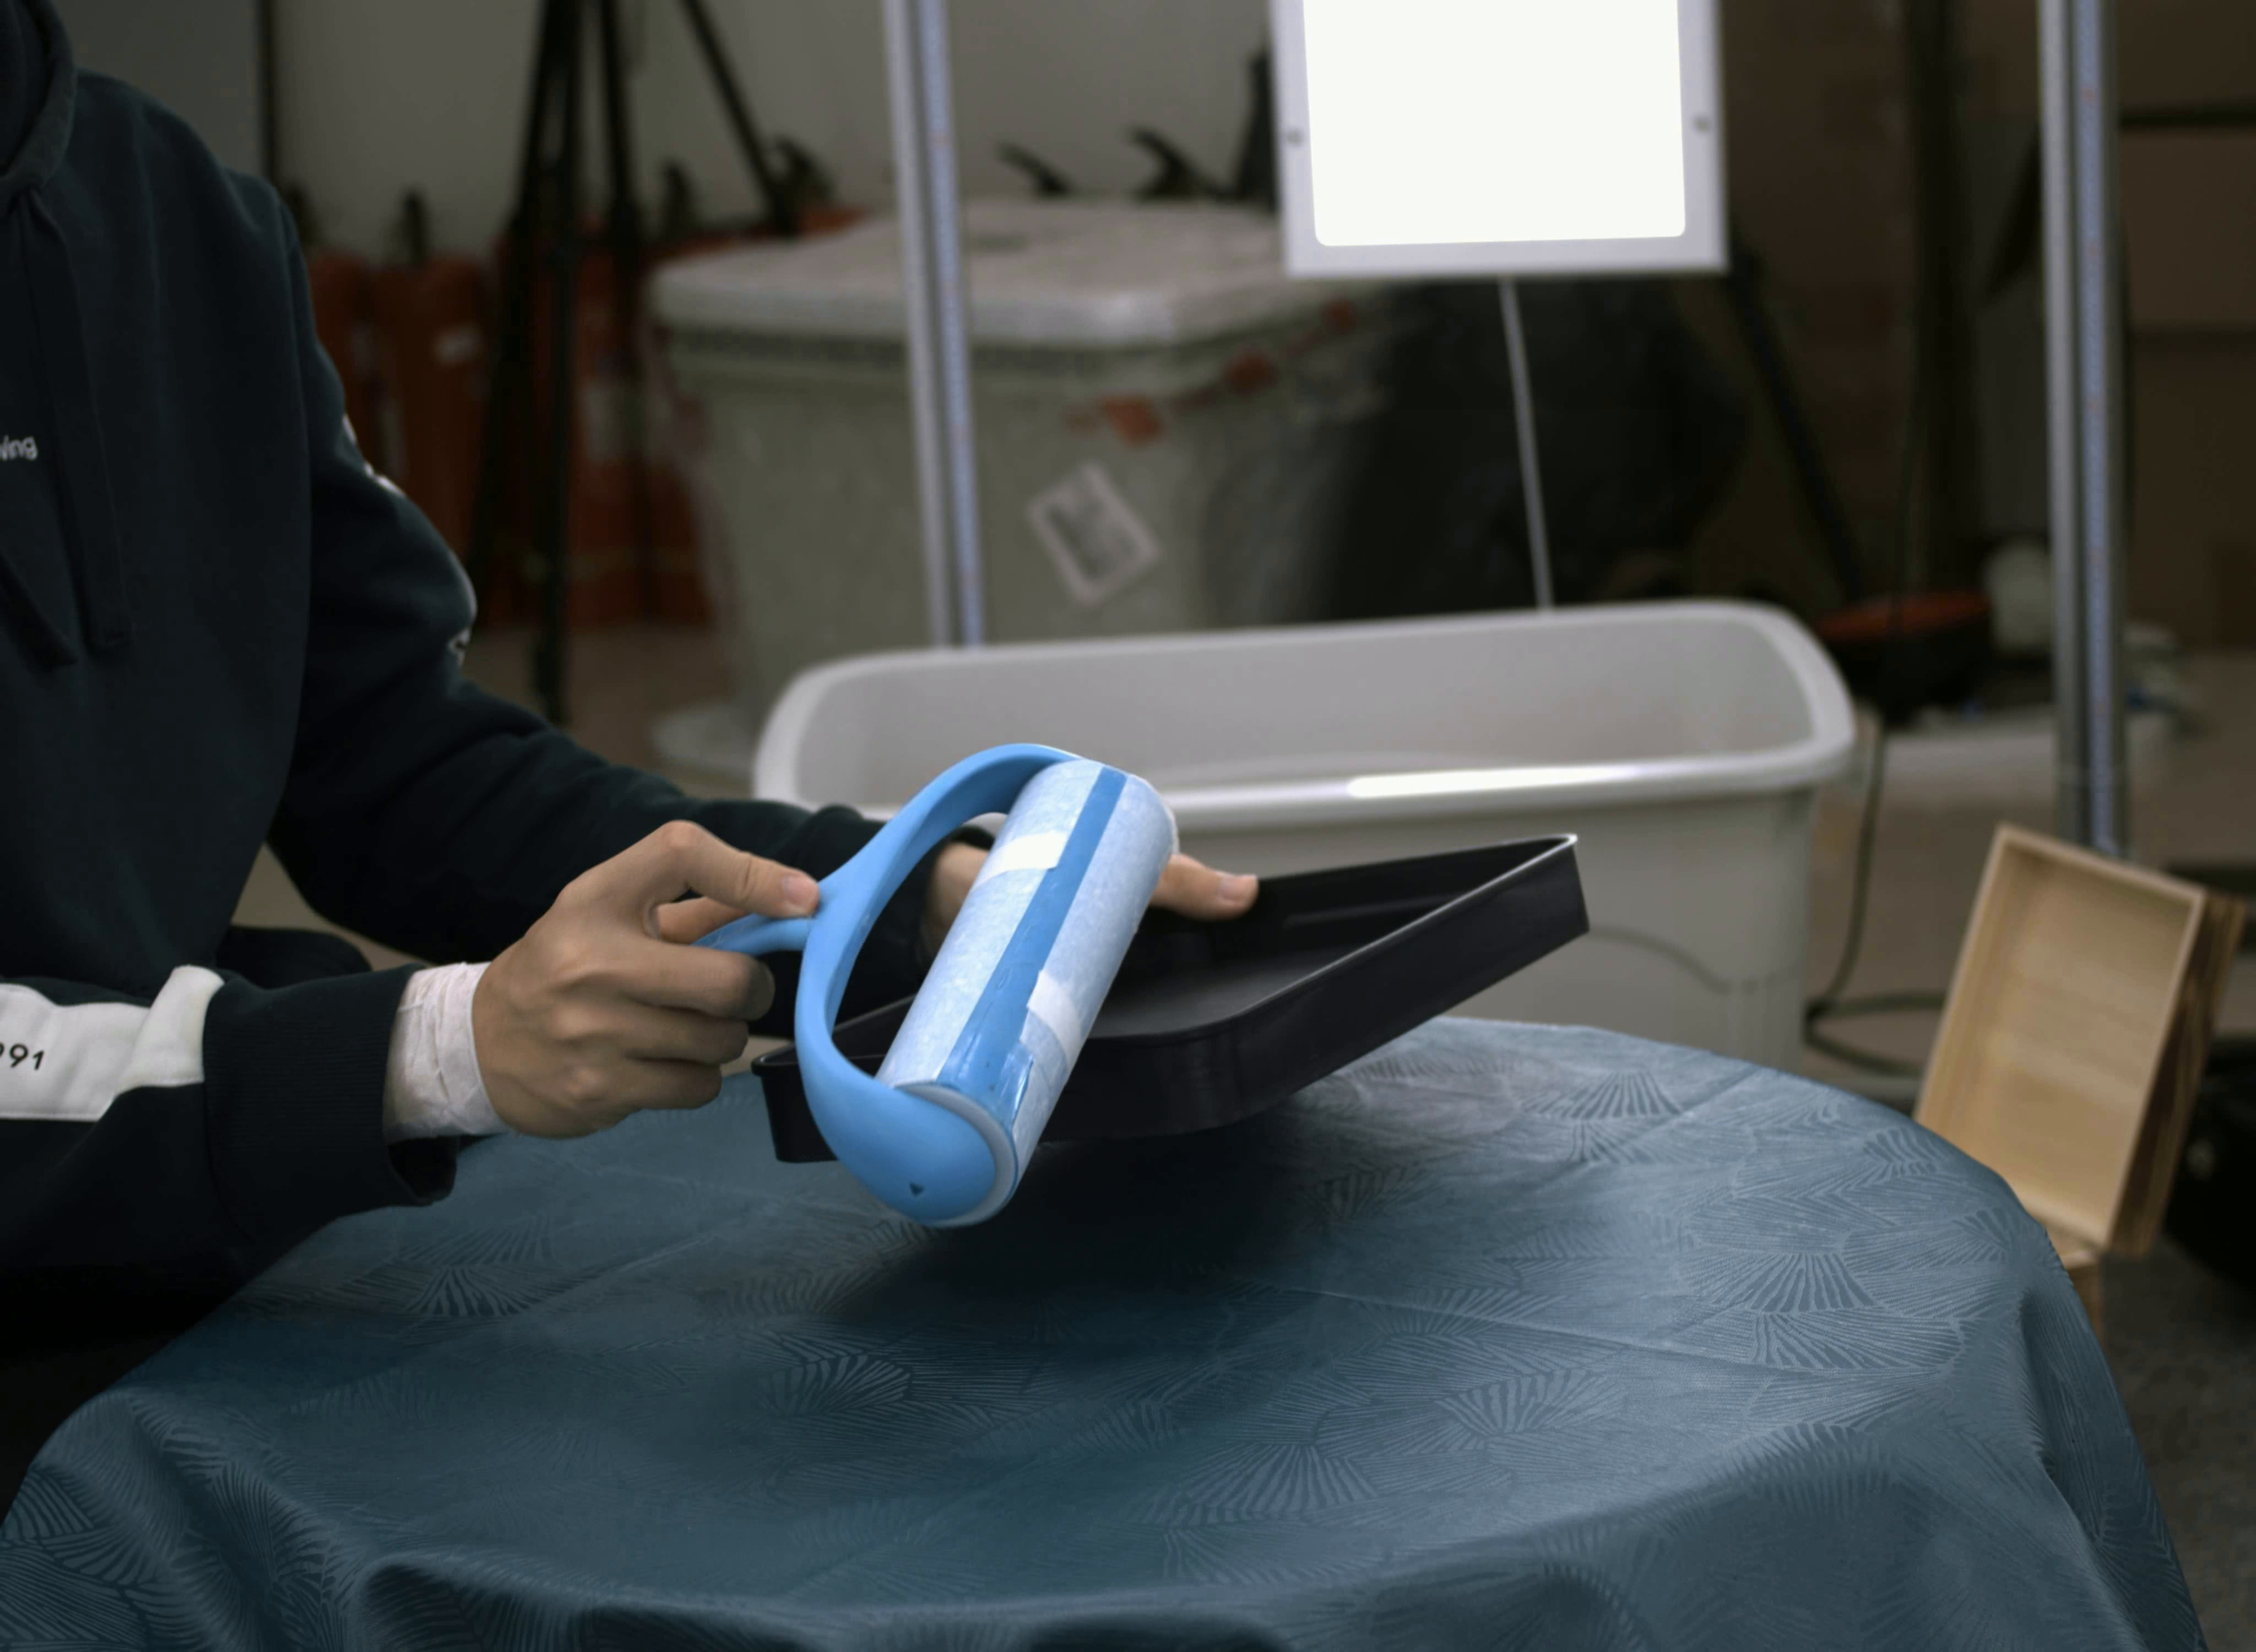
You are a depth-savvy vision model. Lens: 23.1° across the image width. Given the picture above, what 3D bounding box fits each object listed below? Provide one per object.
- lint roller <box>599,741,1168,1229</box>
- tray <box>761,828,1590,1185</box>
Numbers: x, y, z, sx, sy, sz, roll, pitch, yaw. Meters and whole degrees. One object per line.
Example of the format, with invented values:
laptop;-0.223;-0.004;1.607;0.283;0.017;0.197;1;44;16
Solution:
lint roller;-0.091;0.053;1.745;0.182;0.068;0.226;-5;32;17
tray;0.025;0.060;1.900;0.188;0.037;0.311;-9;8;30
